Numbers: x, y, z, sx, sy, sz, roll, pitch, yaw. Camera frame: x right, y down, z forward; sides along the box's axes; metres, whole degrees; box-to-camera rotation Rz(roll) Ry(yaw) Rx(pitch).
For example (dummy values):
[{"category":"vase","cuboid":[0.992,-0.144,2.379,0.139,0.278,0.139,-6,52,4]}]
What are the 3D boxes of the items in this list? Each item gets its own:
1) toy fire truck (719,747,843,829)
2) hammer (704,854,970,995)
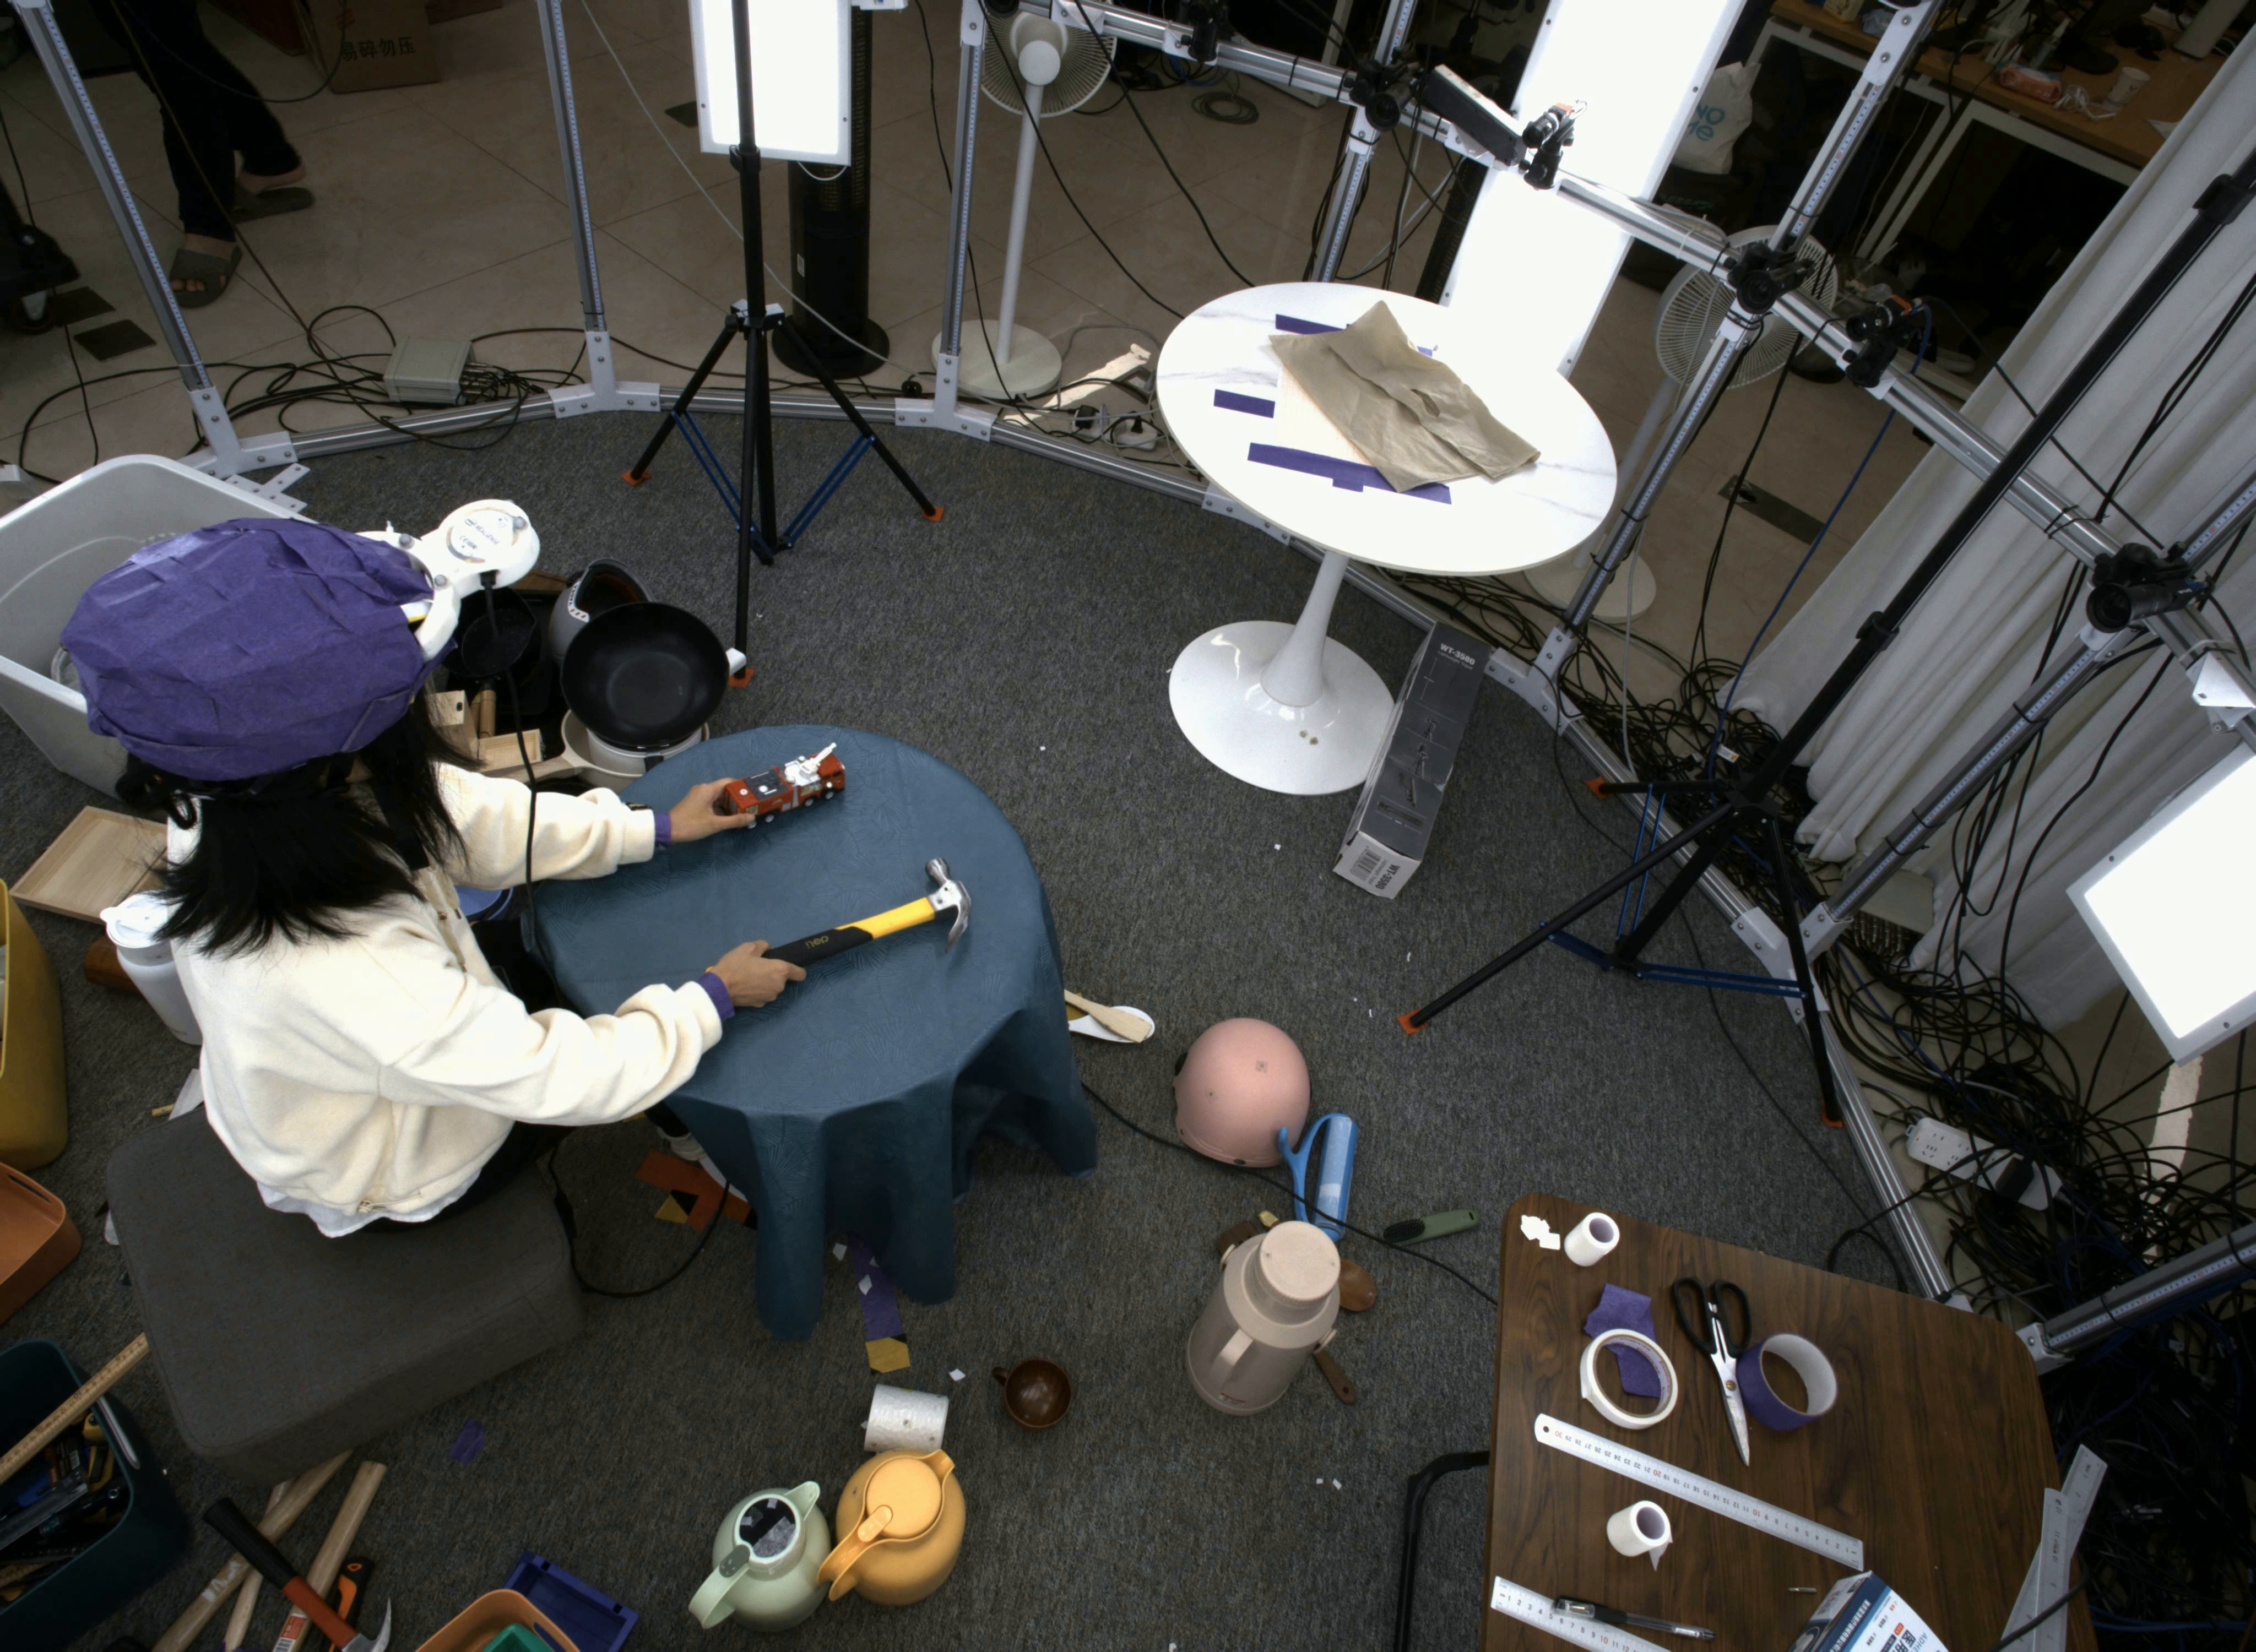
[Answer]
[{"category":"toy fire truck","cuboid":[-0.454,-0.052,1.705,0.169,0.072,0.052,-27,61,-35]},{"category":"hammer","cuboid":[-0.353,0.132,1.595,0.340,0.033,0.127,-18,55,-27]}]
